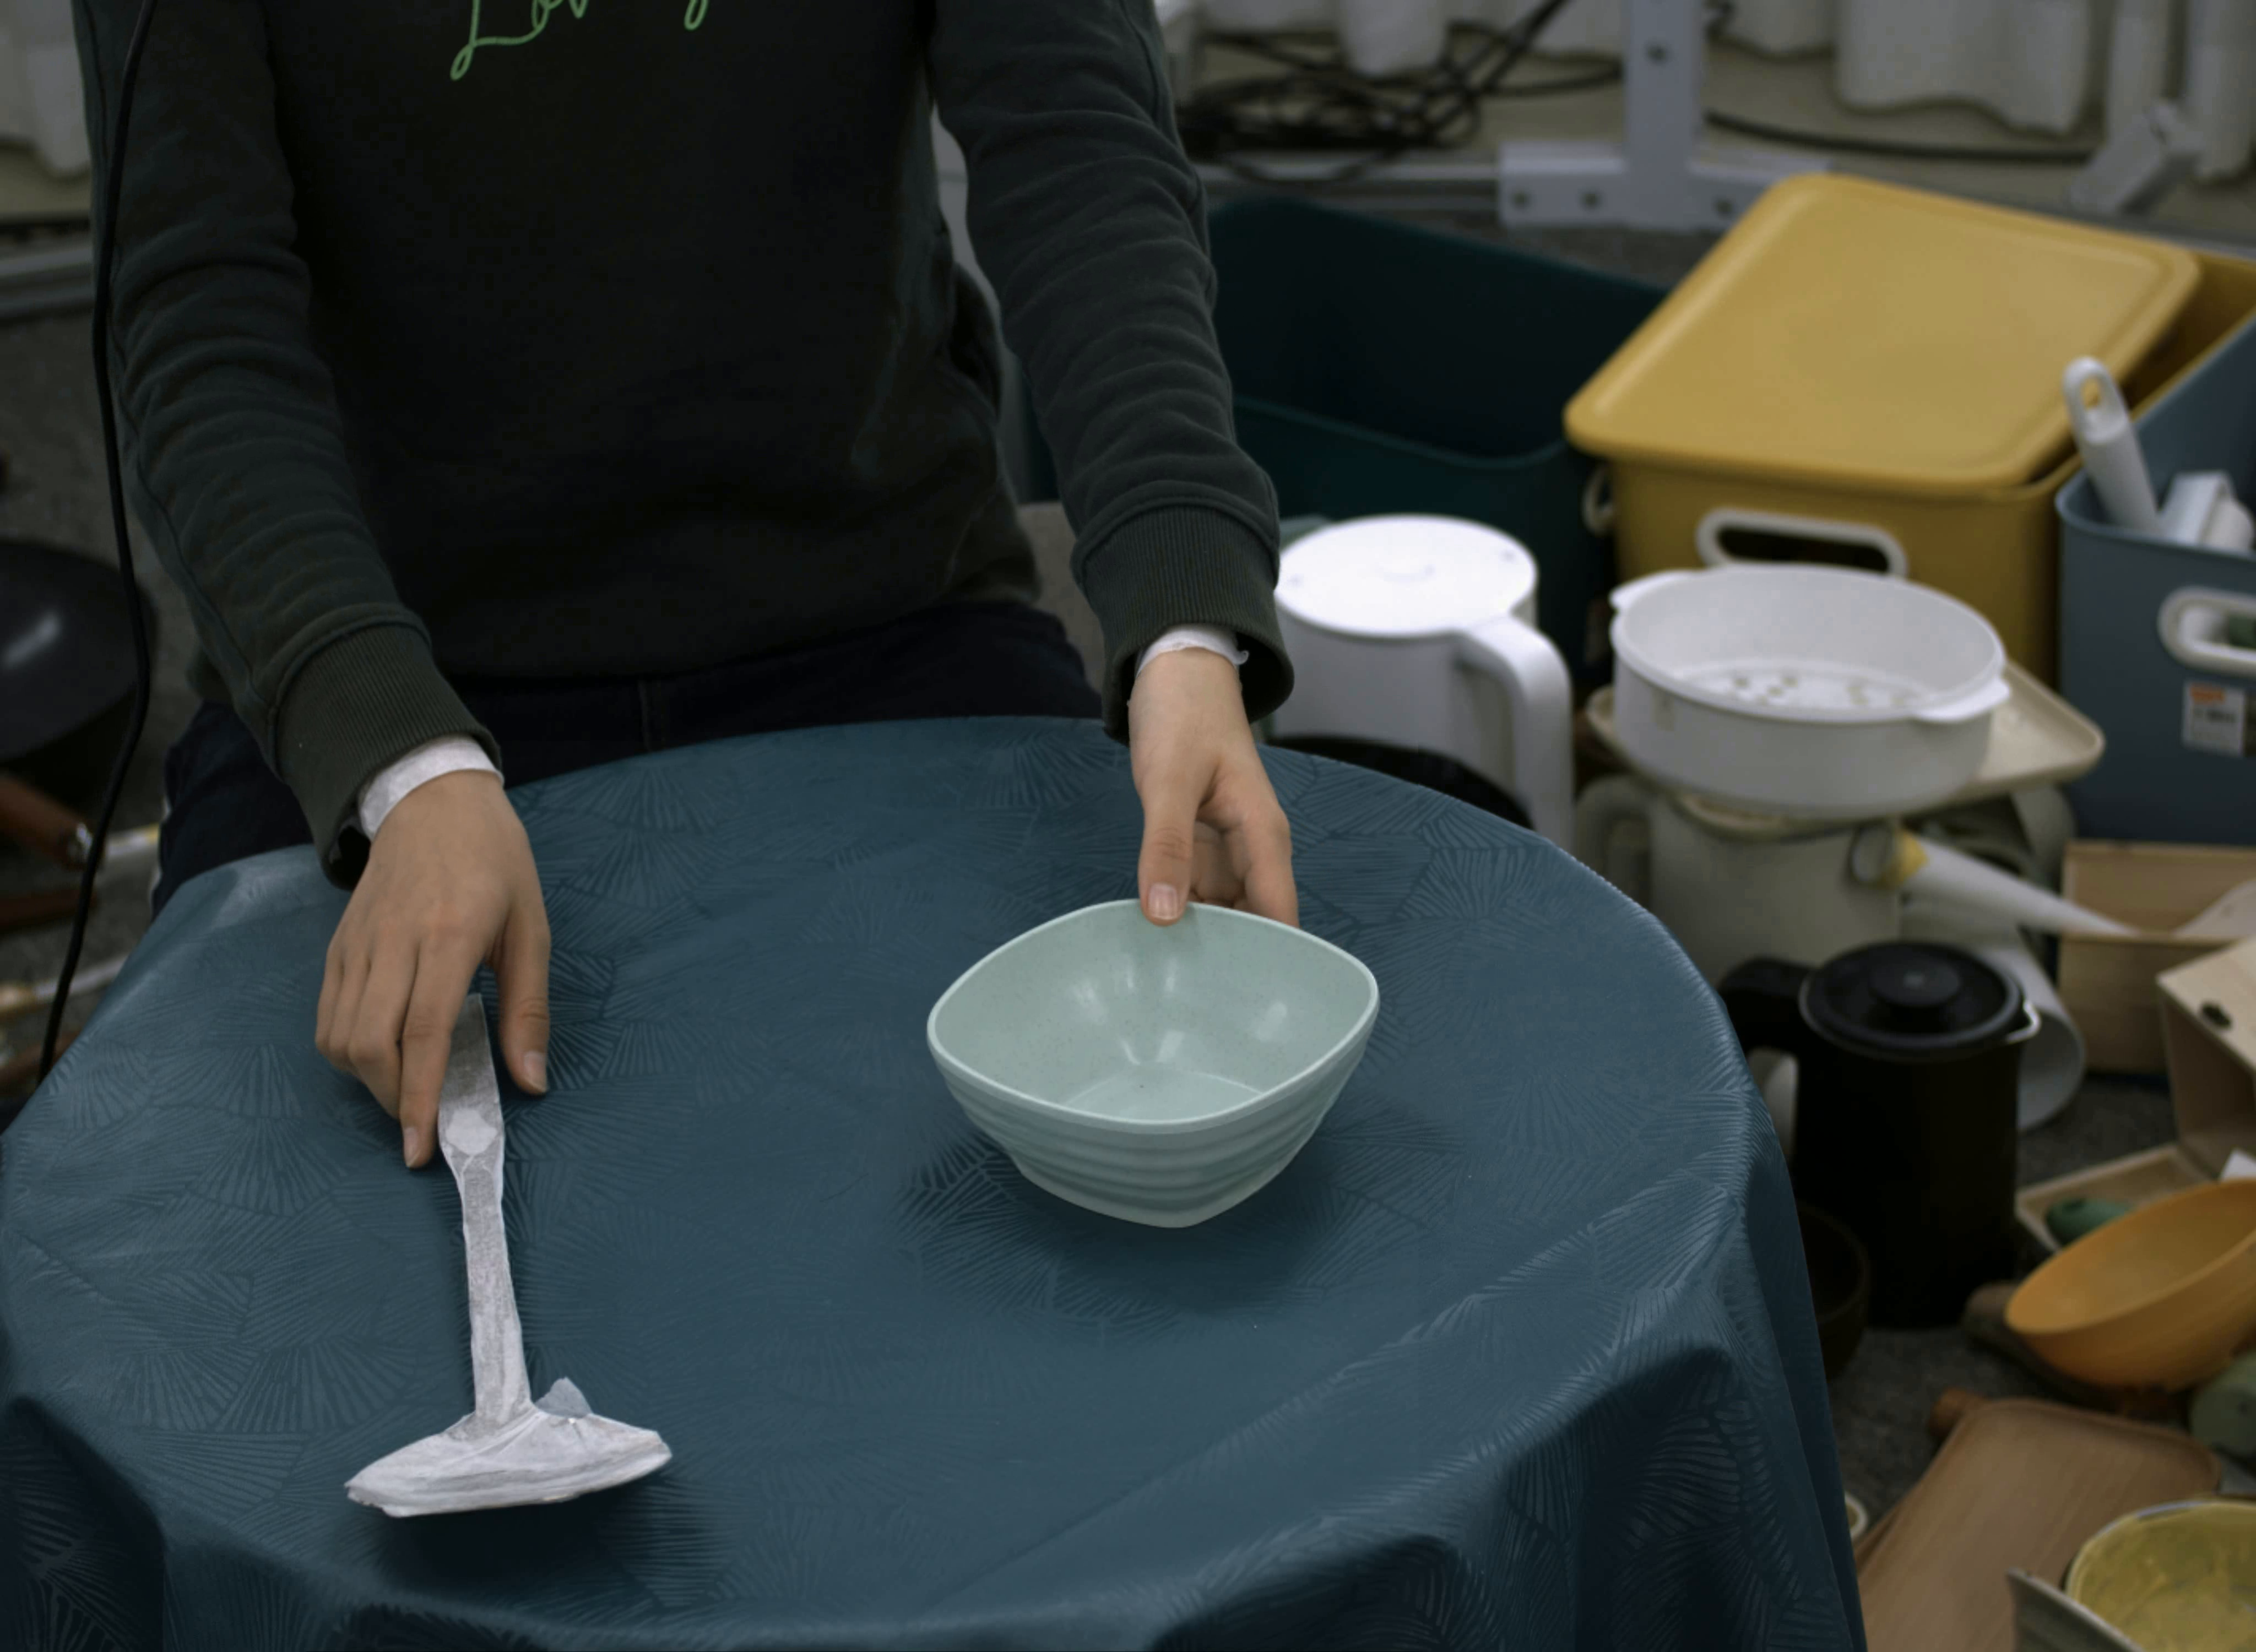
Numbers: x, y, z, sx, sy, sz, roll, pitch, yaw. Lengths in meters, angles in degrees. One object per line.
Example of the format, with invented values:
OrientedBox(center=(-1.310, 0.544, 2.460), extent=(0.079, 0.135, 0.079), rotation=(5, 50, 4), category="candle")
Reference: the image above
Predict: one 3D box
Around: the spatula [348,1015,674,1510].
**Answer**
OrientedBox(center=(-0.204, 0.133, 1.818), extent=(0.098, 0.044, 0.369), rotation=(-8, 28, -5), category="spatula")

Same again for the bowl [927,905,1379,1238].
OrientedBox(center=(0.009, 0.087, 1.872), extent=(0.151, 0.058, 0.154), rotation=(-1, 27, 1), category="bowl")
